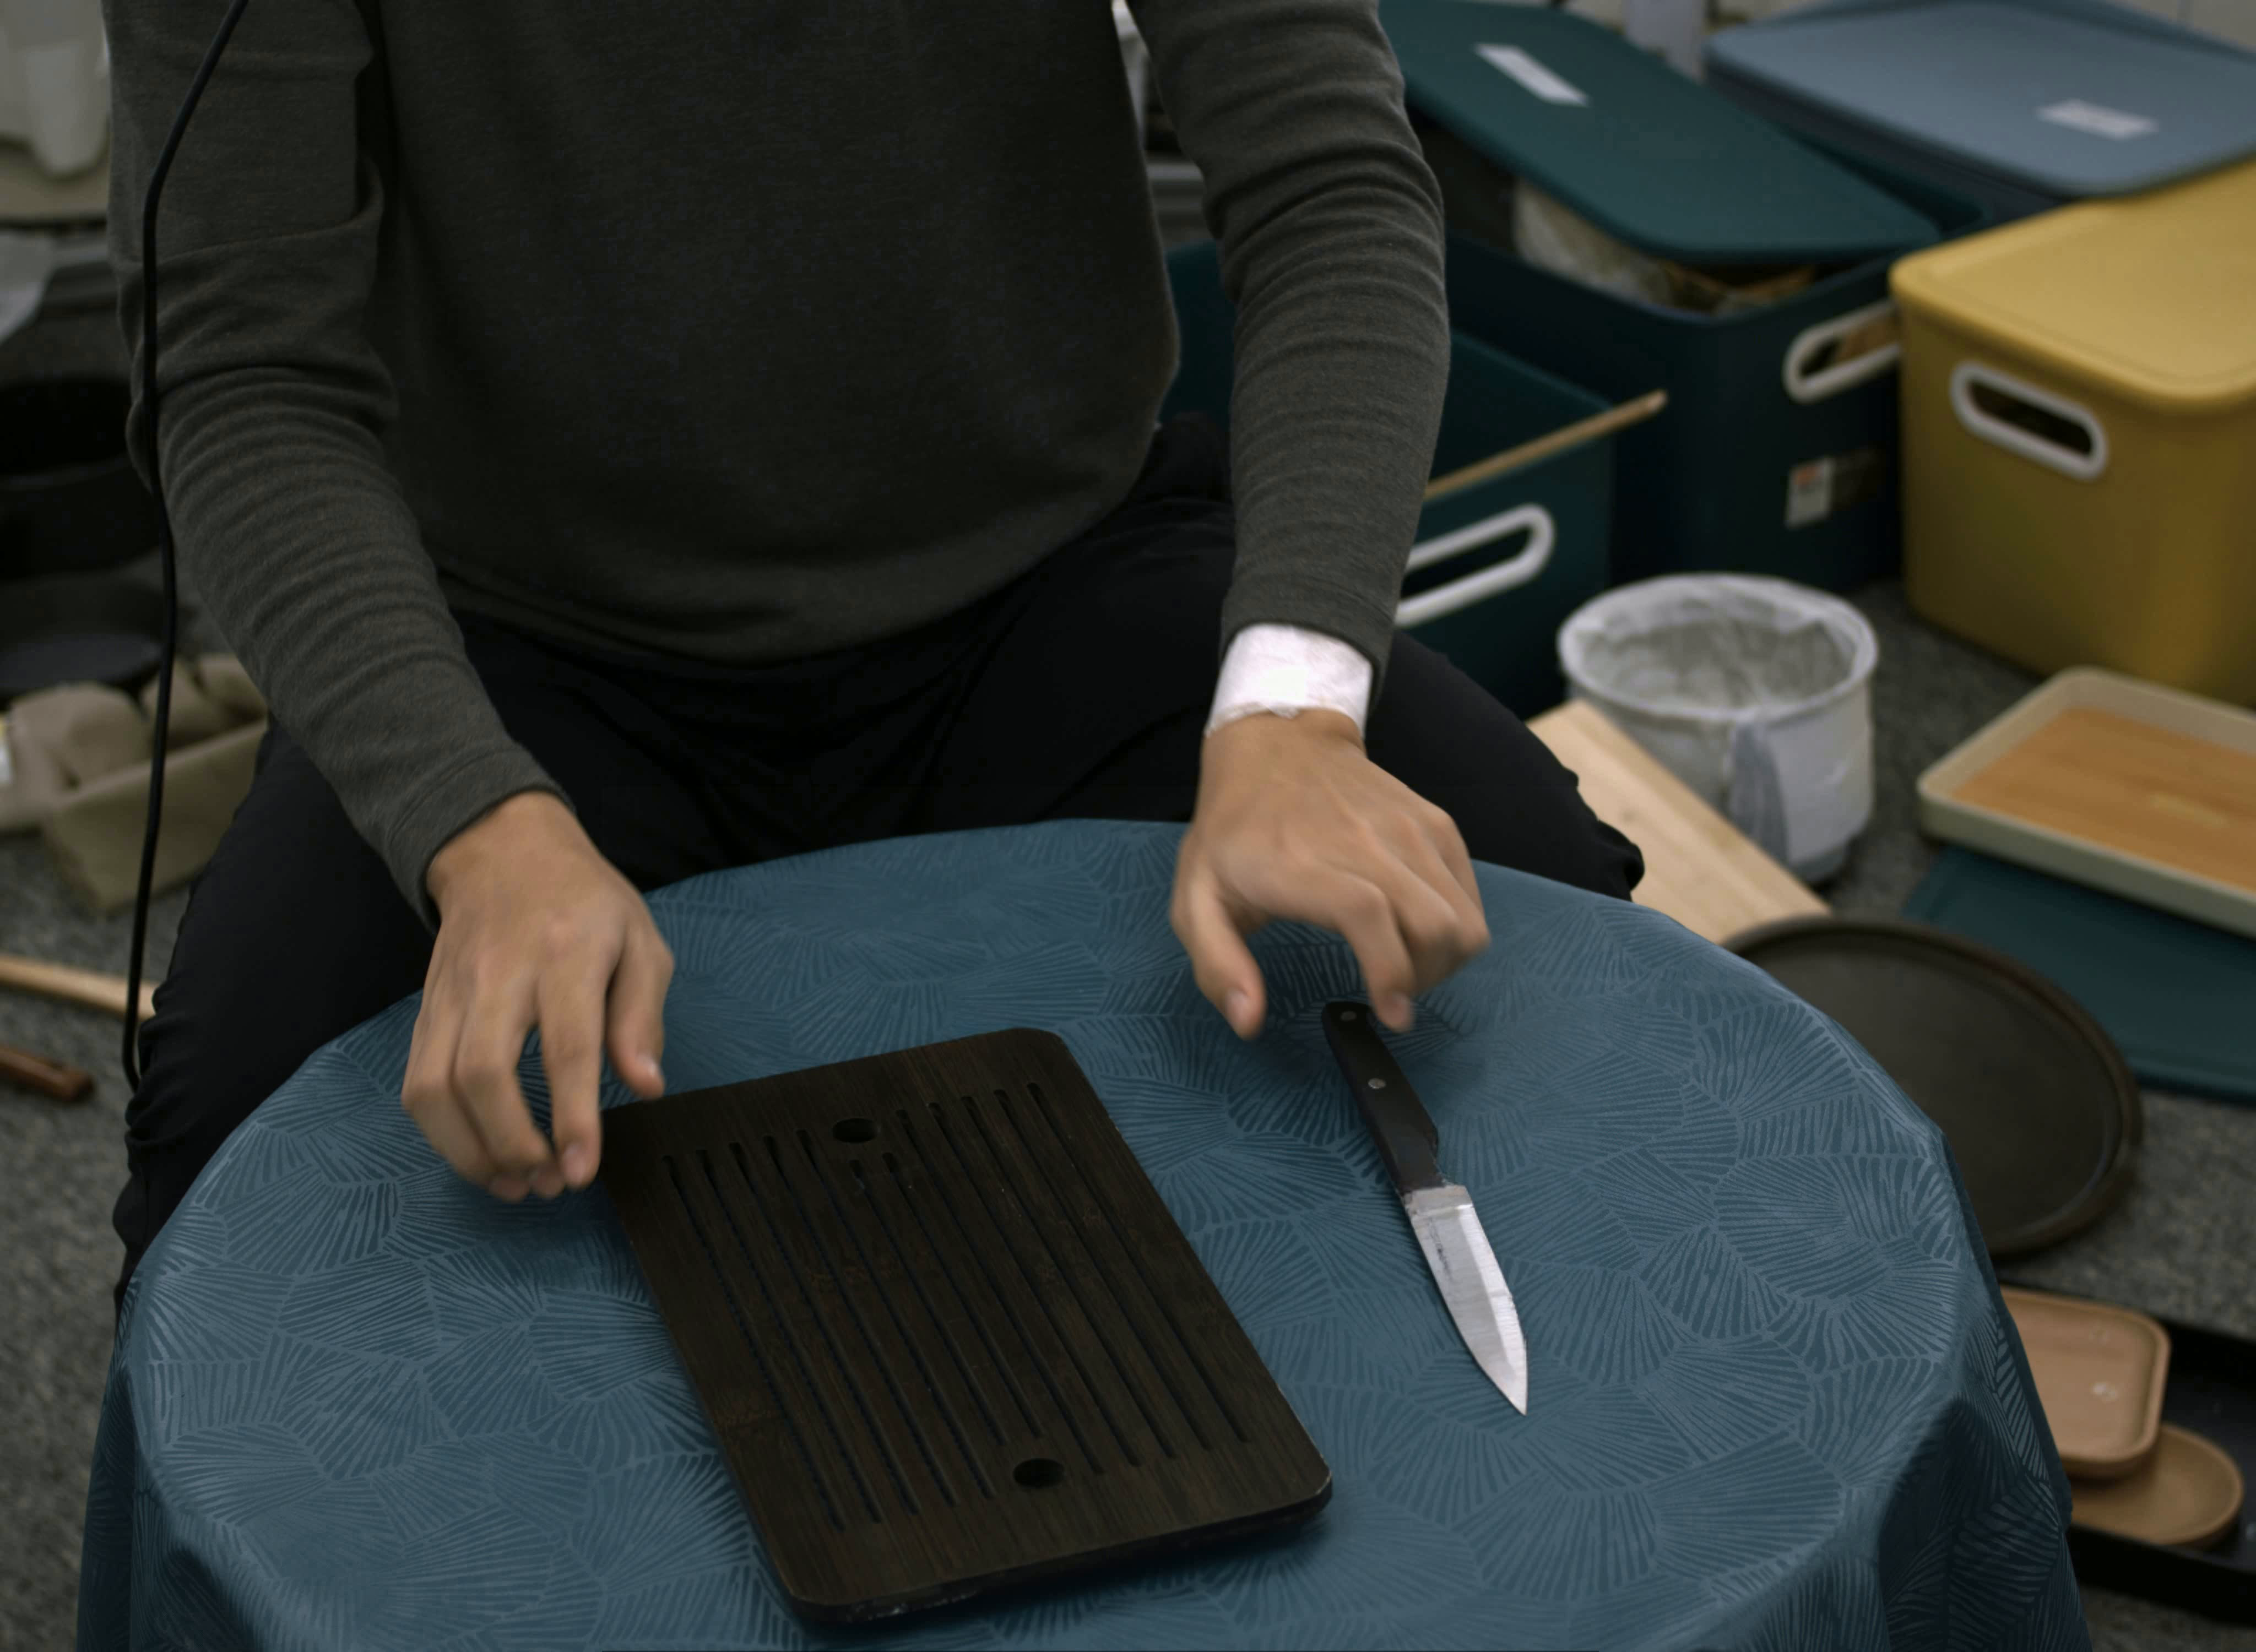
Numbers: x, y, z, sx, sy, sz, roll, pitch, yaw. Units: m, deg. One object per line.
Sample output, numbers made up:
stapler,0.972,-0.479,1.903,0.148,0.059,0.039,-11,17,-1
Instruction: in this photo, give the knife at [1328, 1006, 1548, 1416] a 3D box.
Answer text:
knife,0.100,0.125,1.834,0.024,0.016,0.241,-9,30,-9

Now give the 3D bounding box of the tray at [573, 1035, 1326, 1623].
tray,-0.063,0.156,1.782,0.170,0.018,0.309,-10,28,-14
